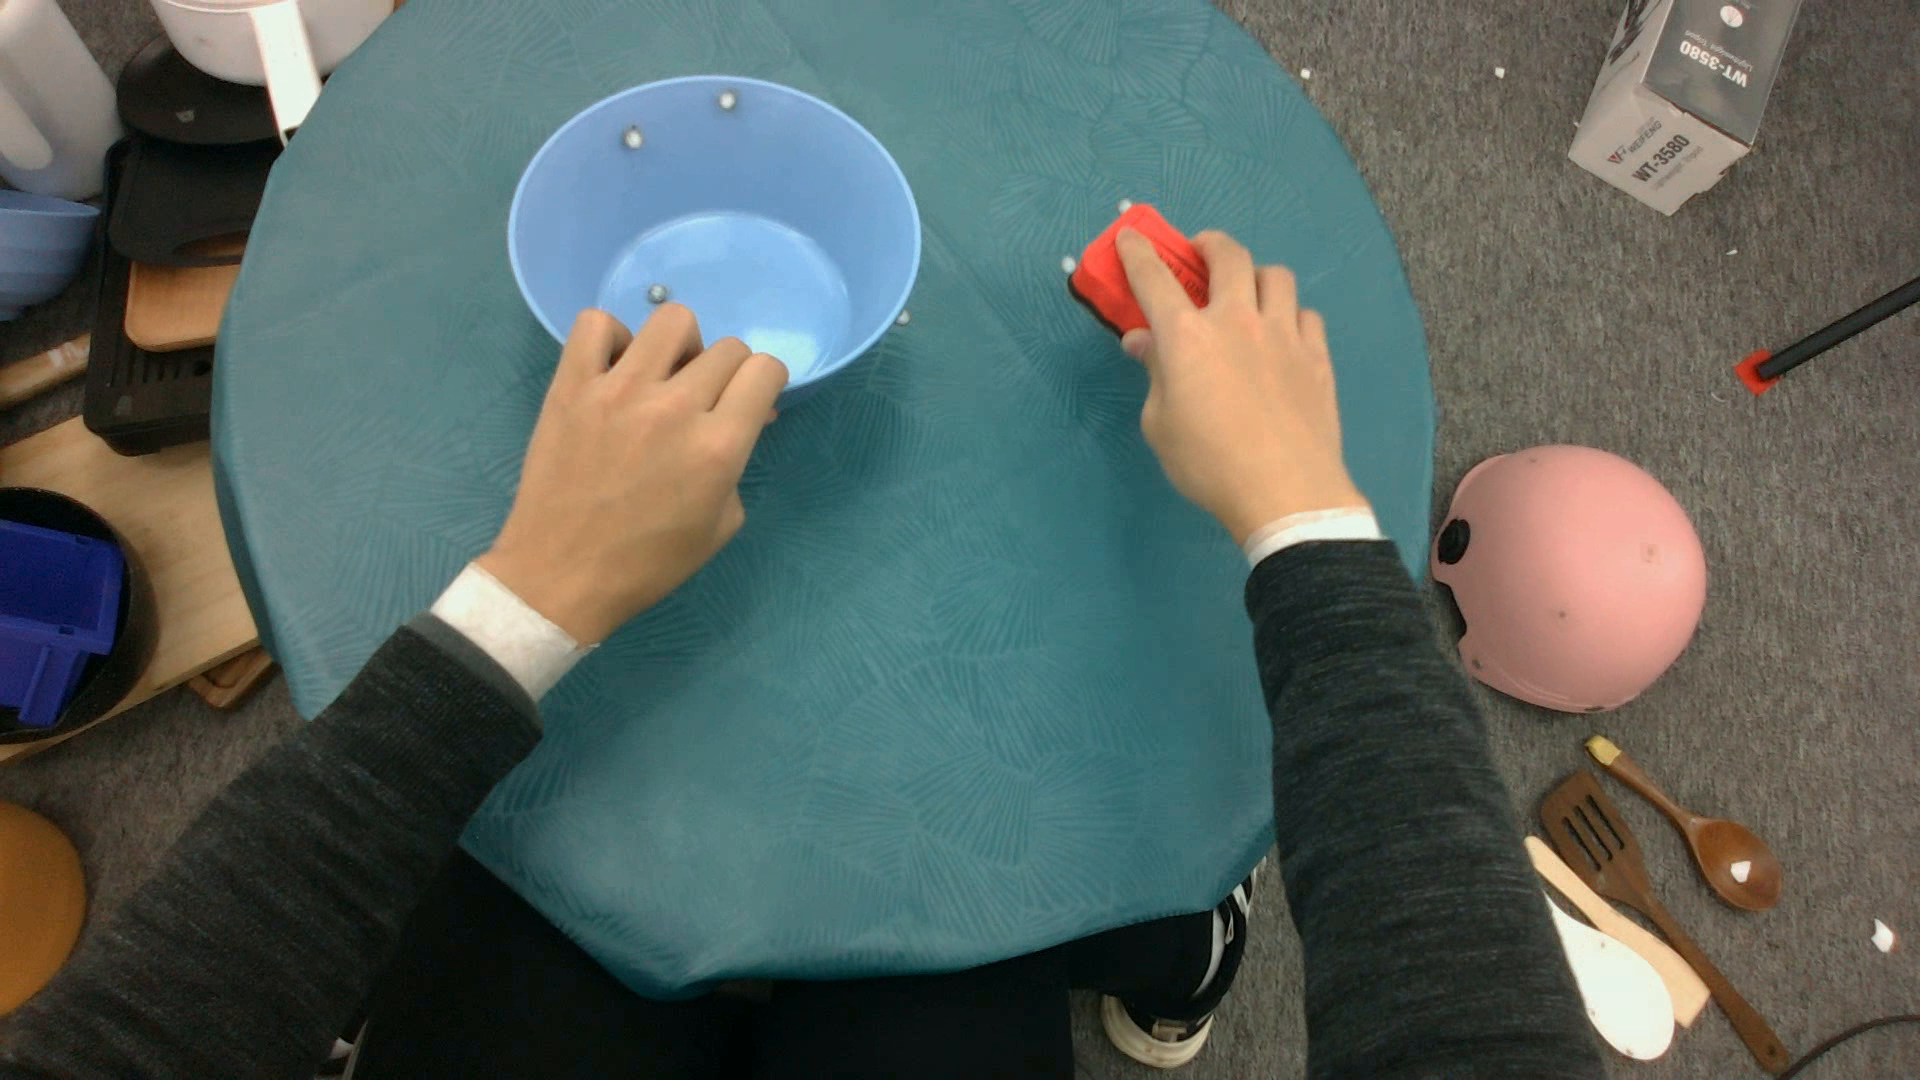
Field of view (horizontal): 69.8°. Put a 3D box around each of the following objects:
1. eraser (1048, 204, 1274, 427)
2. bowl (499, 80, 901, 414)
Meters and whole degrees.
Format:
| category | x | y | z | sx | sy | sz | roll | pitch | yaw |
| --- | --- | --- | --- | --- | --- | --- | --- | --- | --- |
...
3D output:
| category | x | y | z | sx | sy | sz | roll | pitch | yaw |
| --- | --- | --- | --- | --- | --- | --- | --- | --- | --- |
| eraser | 0.098 | -0.110 | 0.668 | 0.108 | 0.023 | 0.059 | 44 | 59 | 1 |
| bowl | -0.117 | -0.125 | 0.637 | 0.176 | 0.070 | 0.177 | 4 | 62 | -7 |
